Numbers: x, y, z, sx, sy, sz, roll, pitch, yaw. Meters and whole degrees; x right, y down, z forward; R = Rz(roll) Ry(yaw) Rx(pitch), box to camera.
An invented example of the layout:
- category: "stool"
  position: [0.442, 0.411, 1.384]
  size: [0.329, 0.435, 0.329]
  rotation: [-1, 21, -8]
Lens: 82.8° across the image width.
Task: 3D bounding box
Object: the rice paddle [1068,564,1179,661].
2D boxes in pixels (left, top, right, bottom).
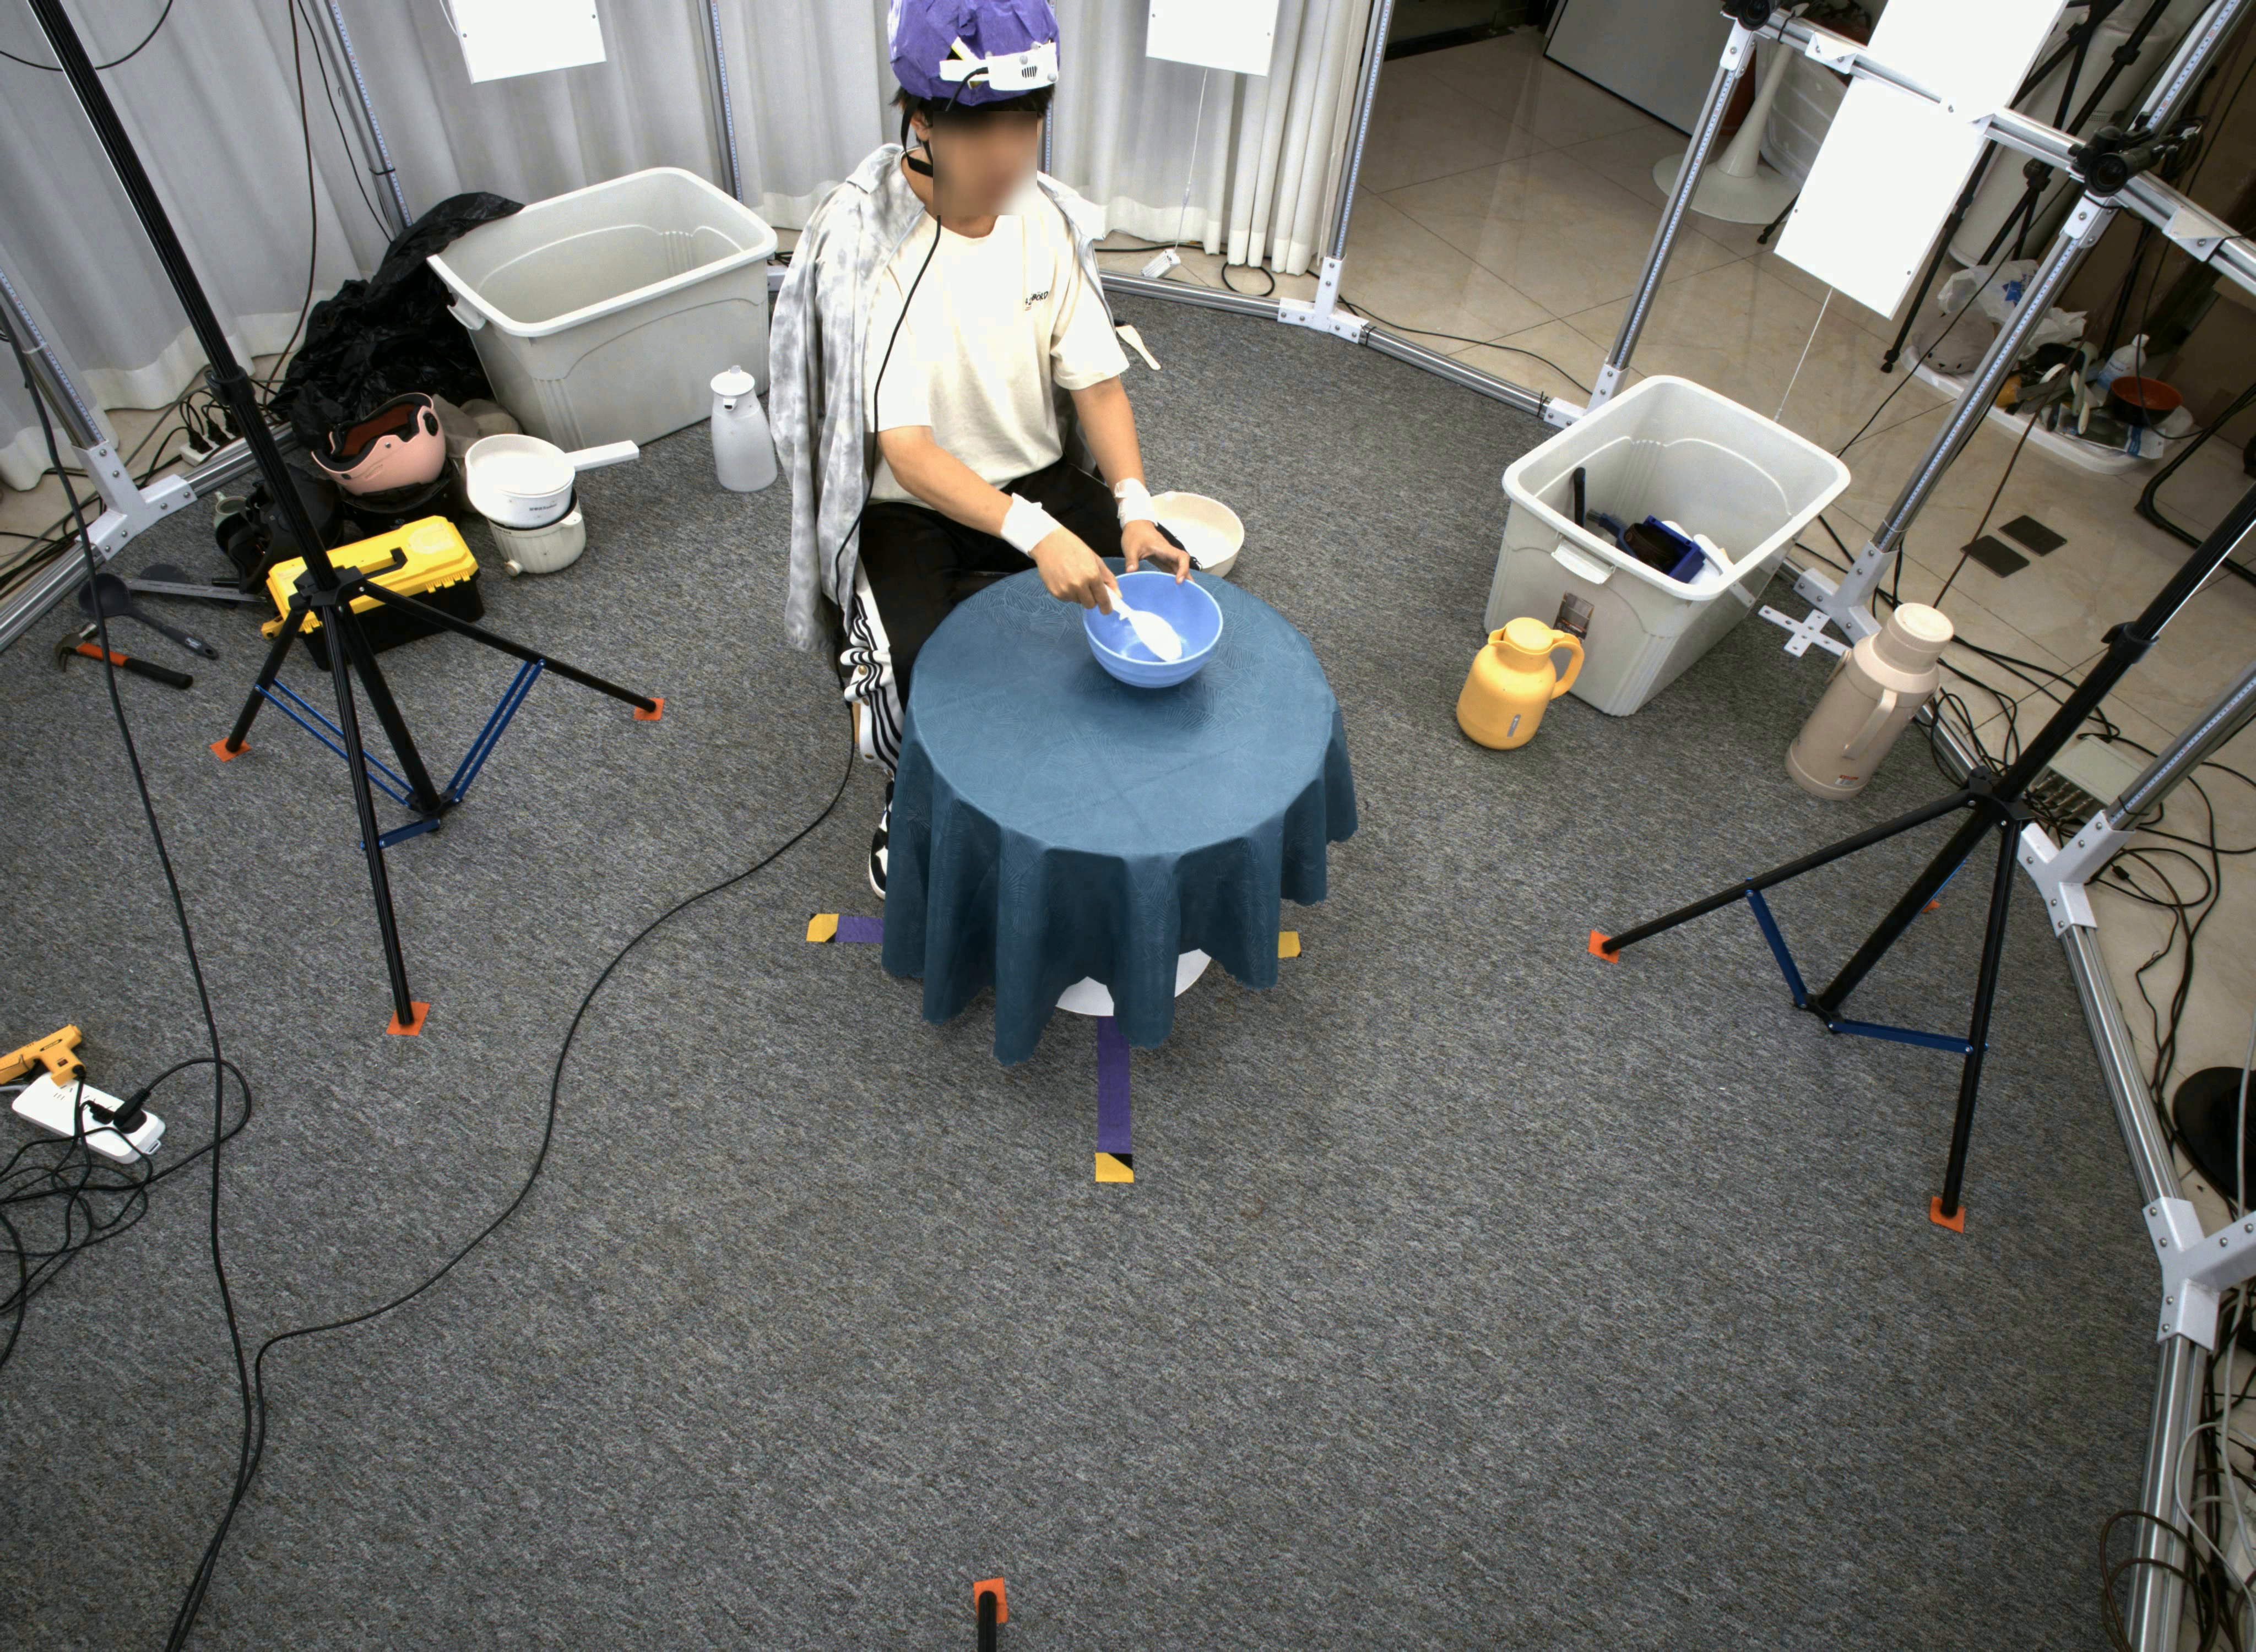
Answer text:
- category: "rice paddle"
  position: [0.002, -0.298, 1.800]
  size: [0.202, 0.029, 0.070]
  rotation: [32, 50, -29]

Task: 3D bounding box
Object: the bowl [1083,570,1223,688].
- category: "bowl"
  position: [0.033, -0.266, 1.833]
  size: [0.196, 0.093, 0.201]
  rotation: [2, 50, -3]
